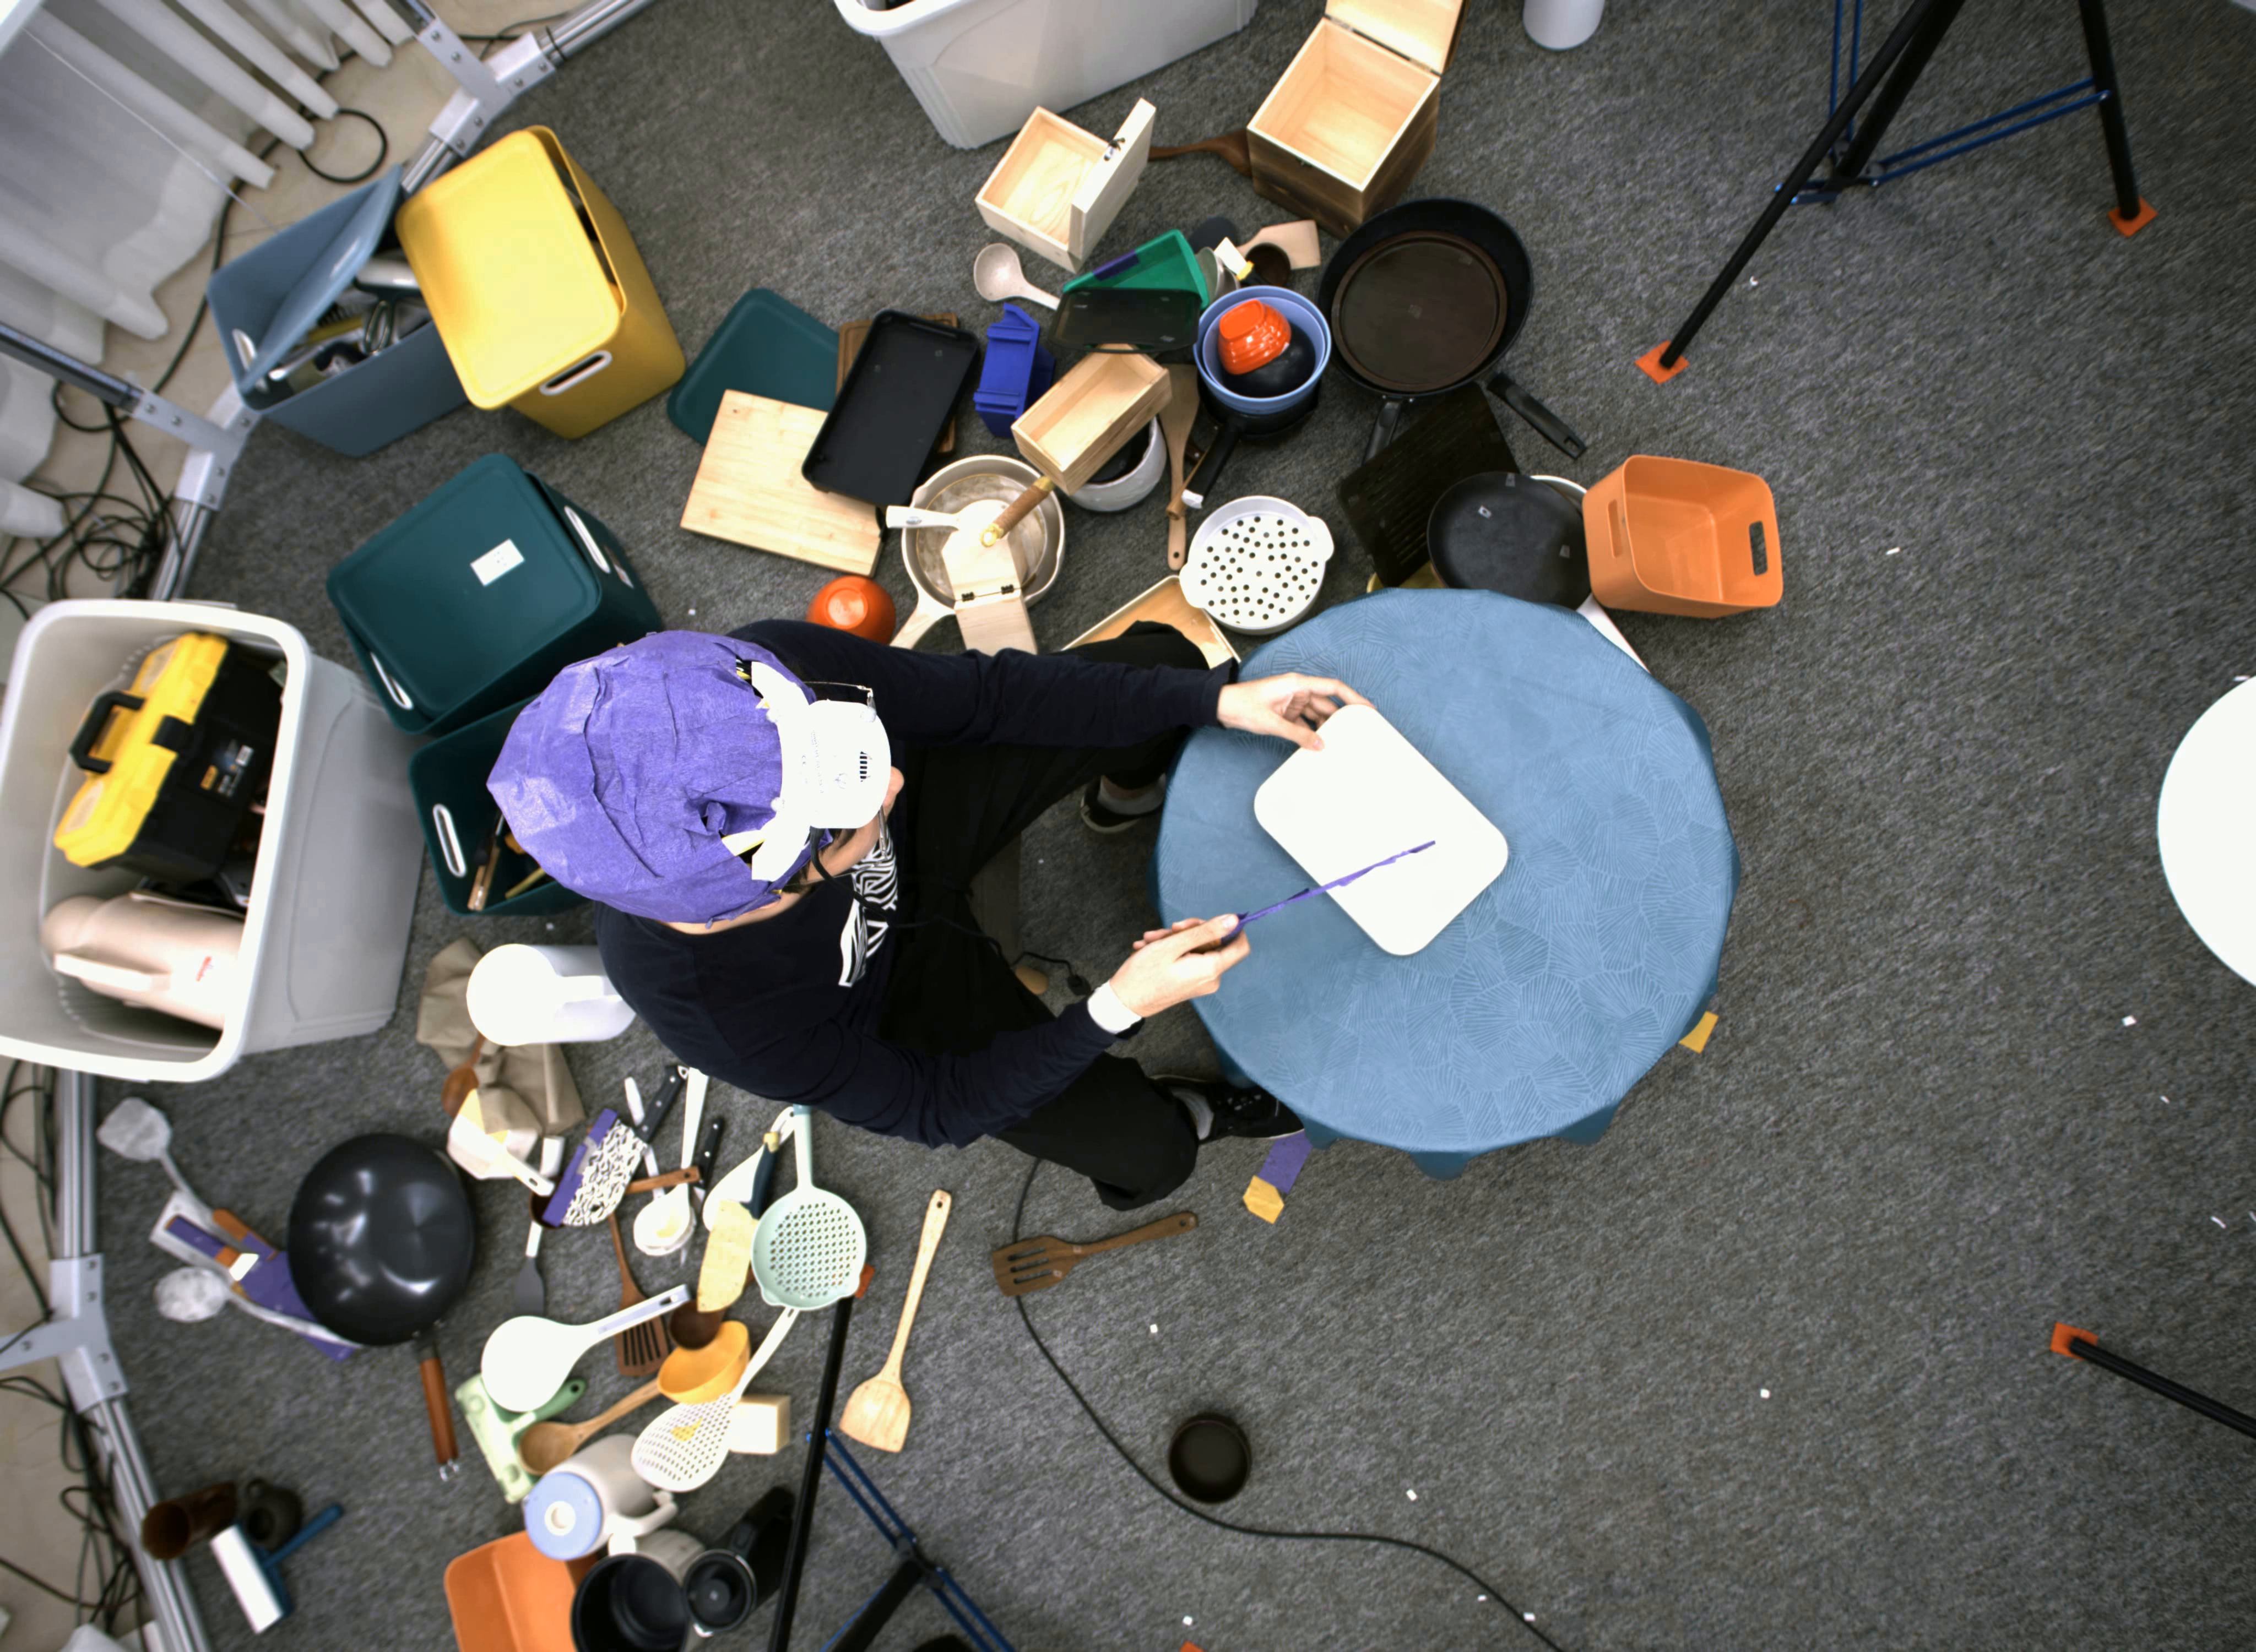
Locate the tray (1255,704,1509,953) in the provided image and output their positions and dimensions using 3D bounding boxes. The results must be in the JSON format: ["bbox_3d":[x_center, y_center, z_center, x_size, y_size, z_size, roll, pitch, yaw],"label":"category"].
[{"bbox_3d":[0.265,0.001,1.445,0.239,0.017,0.172,44,97,4],"label":"tray"}]

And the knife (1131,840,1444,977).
[{"bbox_3d":[0.157,0.077,1.341,0.318,0.103,0.032,-21,85,13],"label":"knife"}]
